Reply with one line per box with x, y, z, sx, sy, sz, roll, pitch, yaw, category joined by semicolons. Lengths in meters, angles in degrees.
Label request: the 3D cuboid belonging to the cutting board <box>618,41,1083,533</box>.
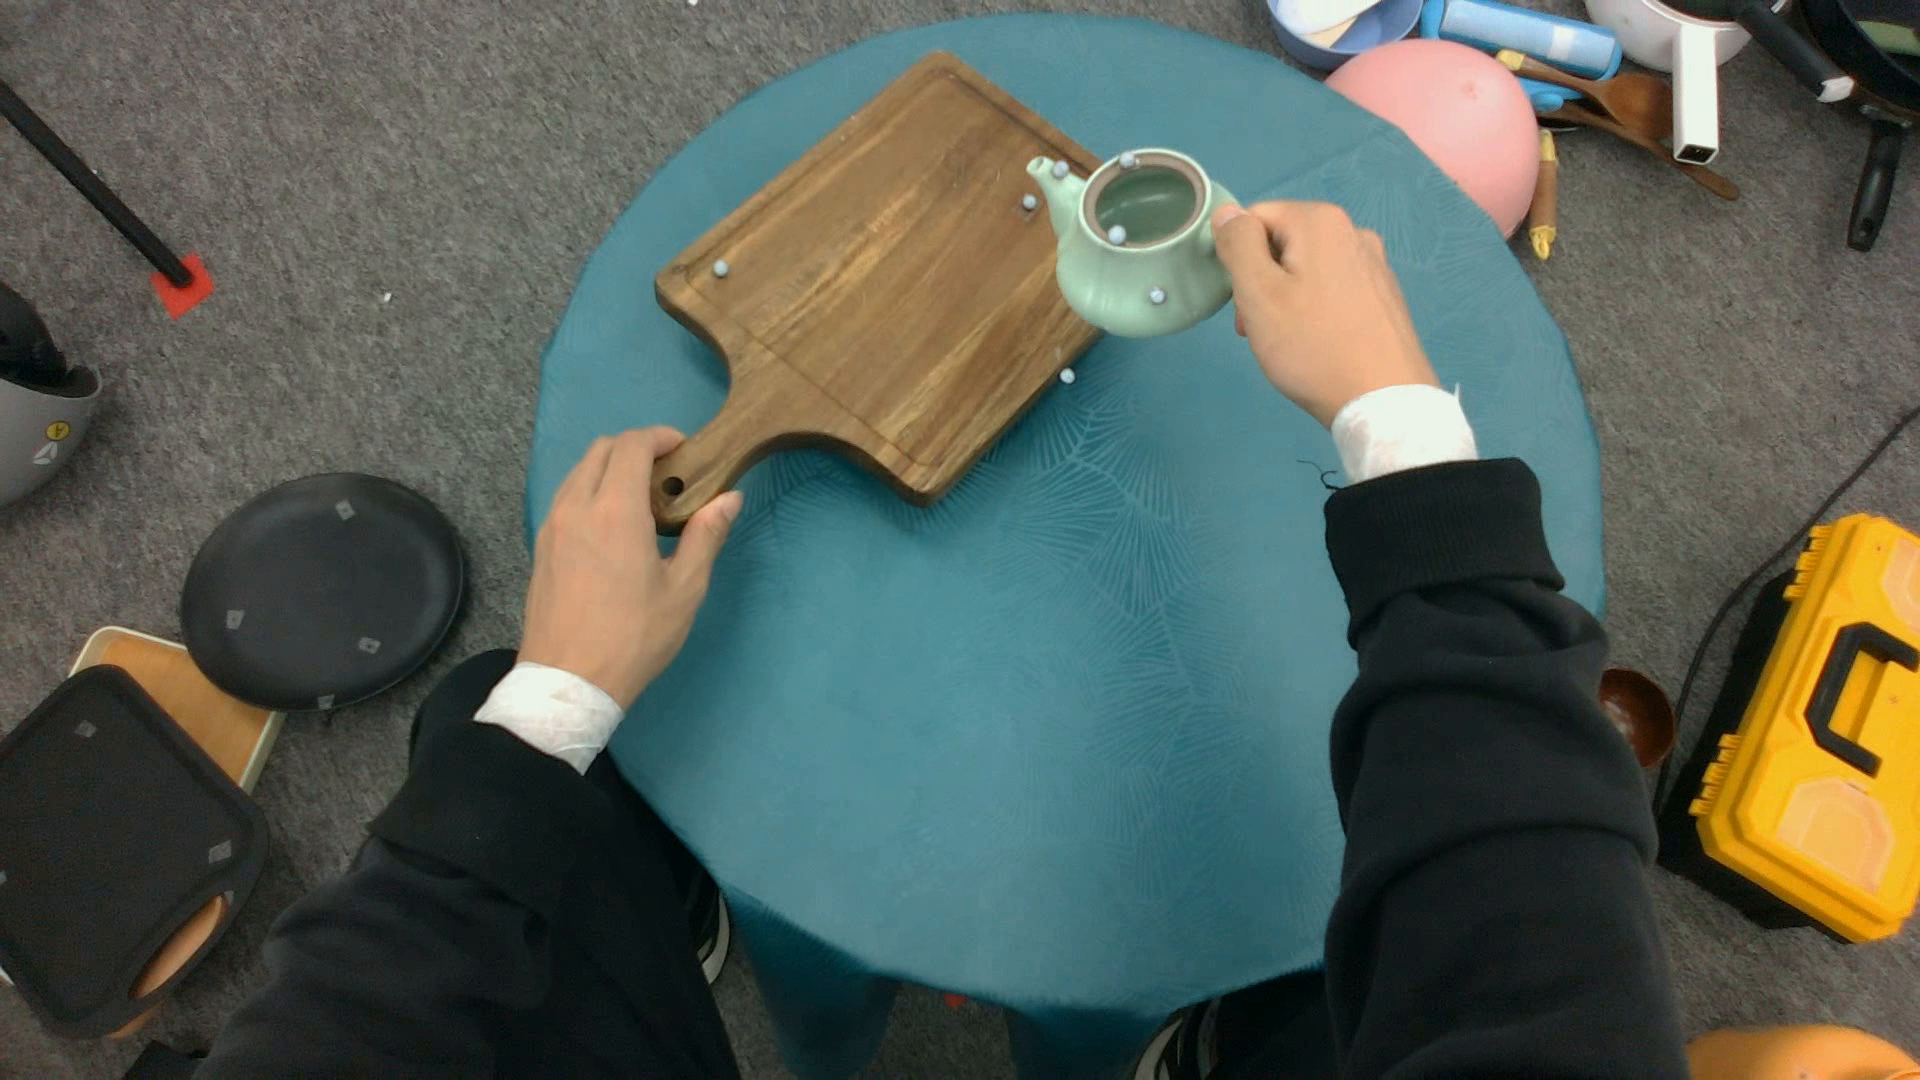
-0.058;-0.131;0.753;0.201;0.023;0.353;37;63;10;cutting board

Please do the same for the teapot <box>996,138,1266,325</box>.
0.083;-0.151;0.666;0.137;0.061;0.096;21;67;25;teapot
